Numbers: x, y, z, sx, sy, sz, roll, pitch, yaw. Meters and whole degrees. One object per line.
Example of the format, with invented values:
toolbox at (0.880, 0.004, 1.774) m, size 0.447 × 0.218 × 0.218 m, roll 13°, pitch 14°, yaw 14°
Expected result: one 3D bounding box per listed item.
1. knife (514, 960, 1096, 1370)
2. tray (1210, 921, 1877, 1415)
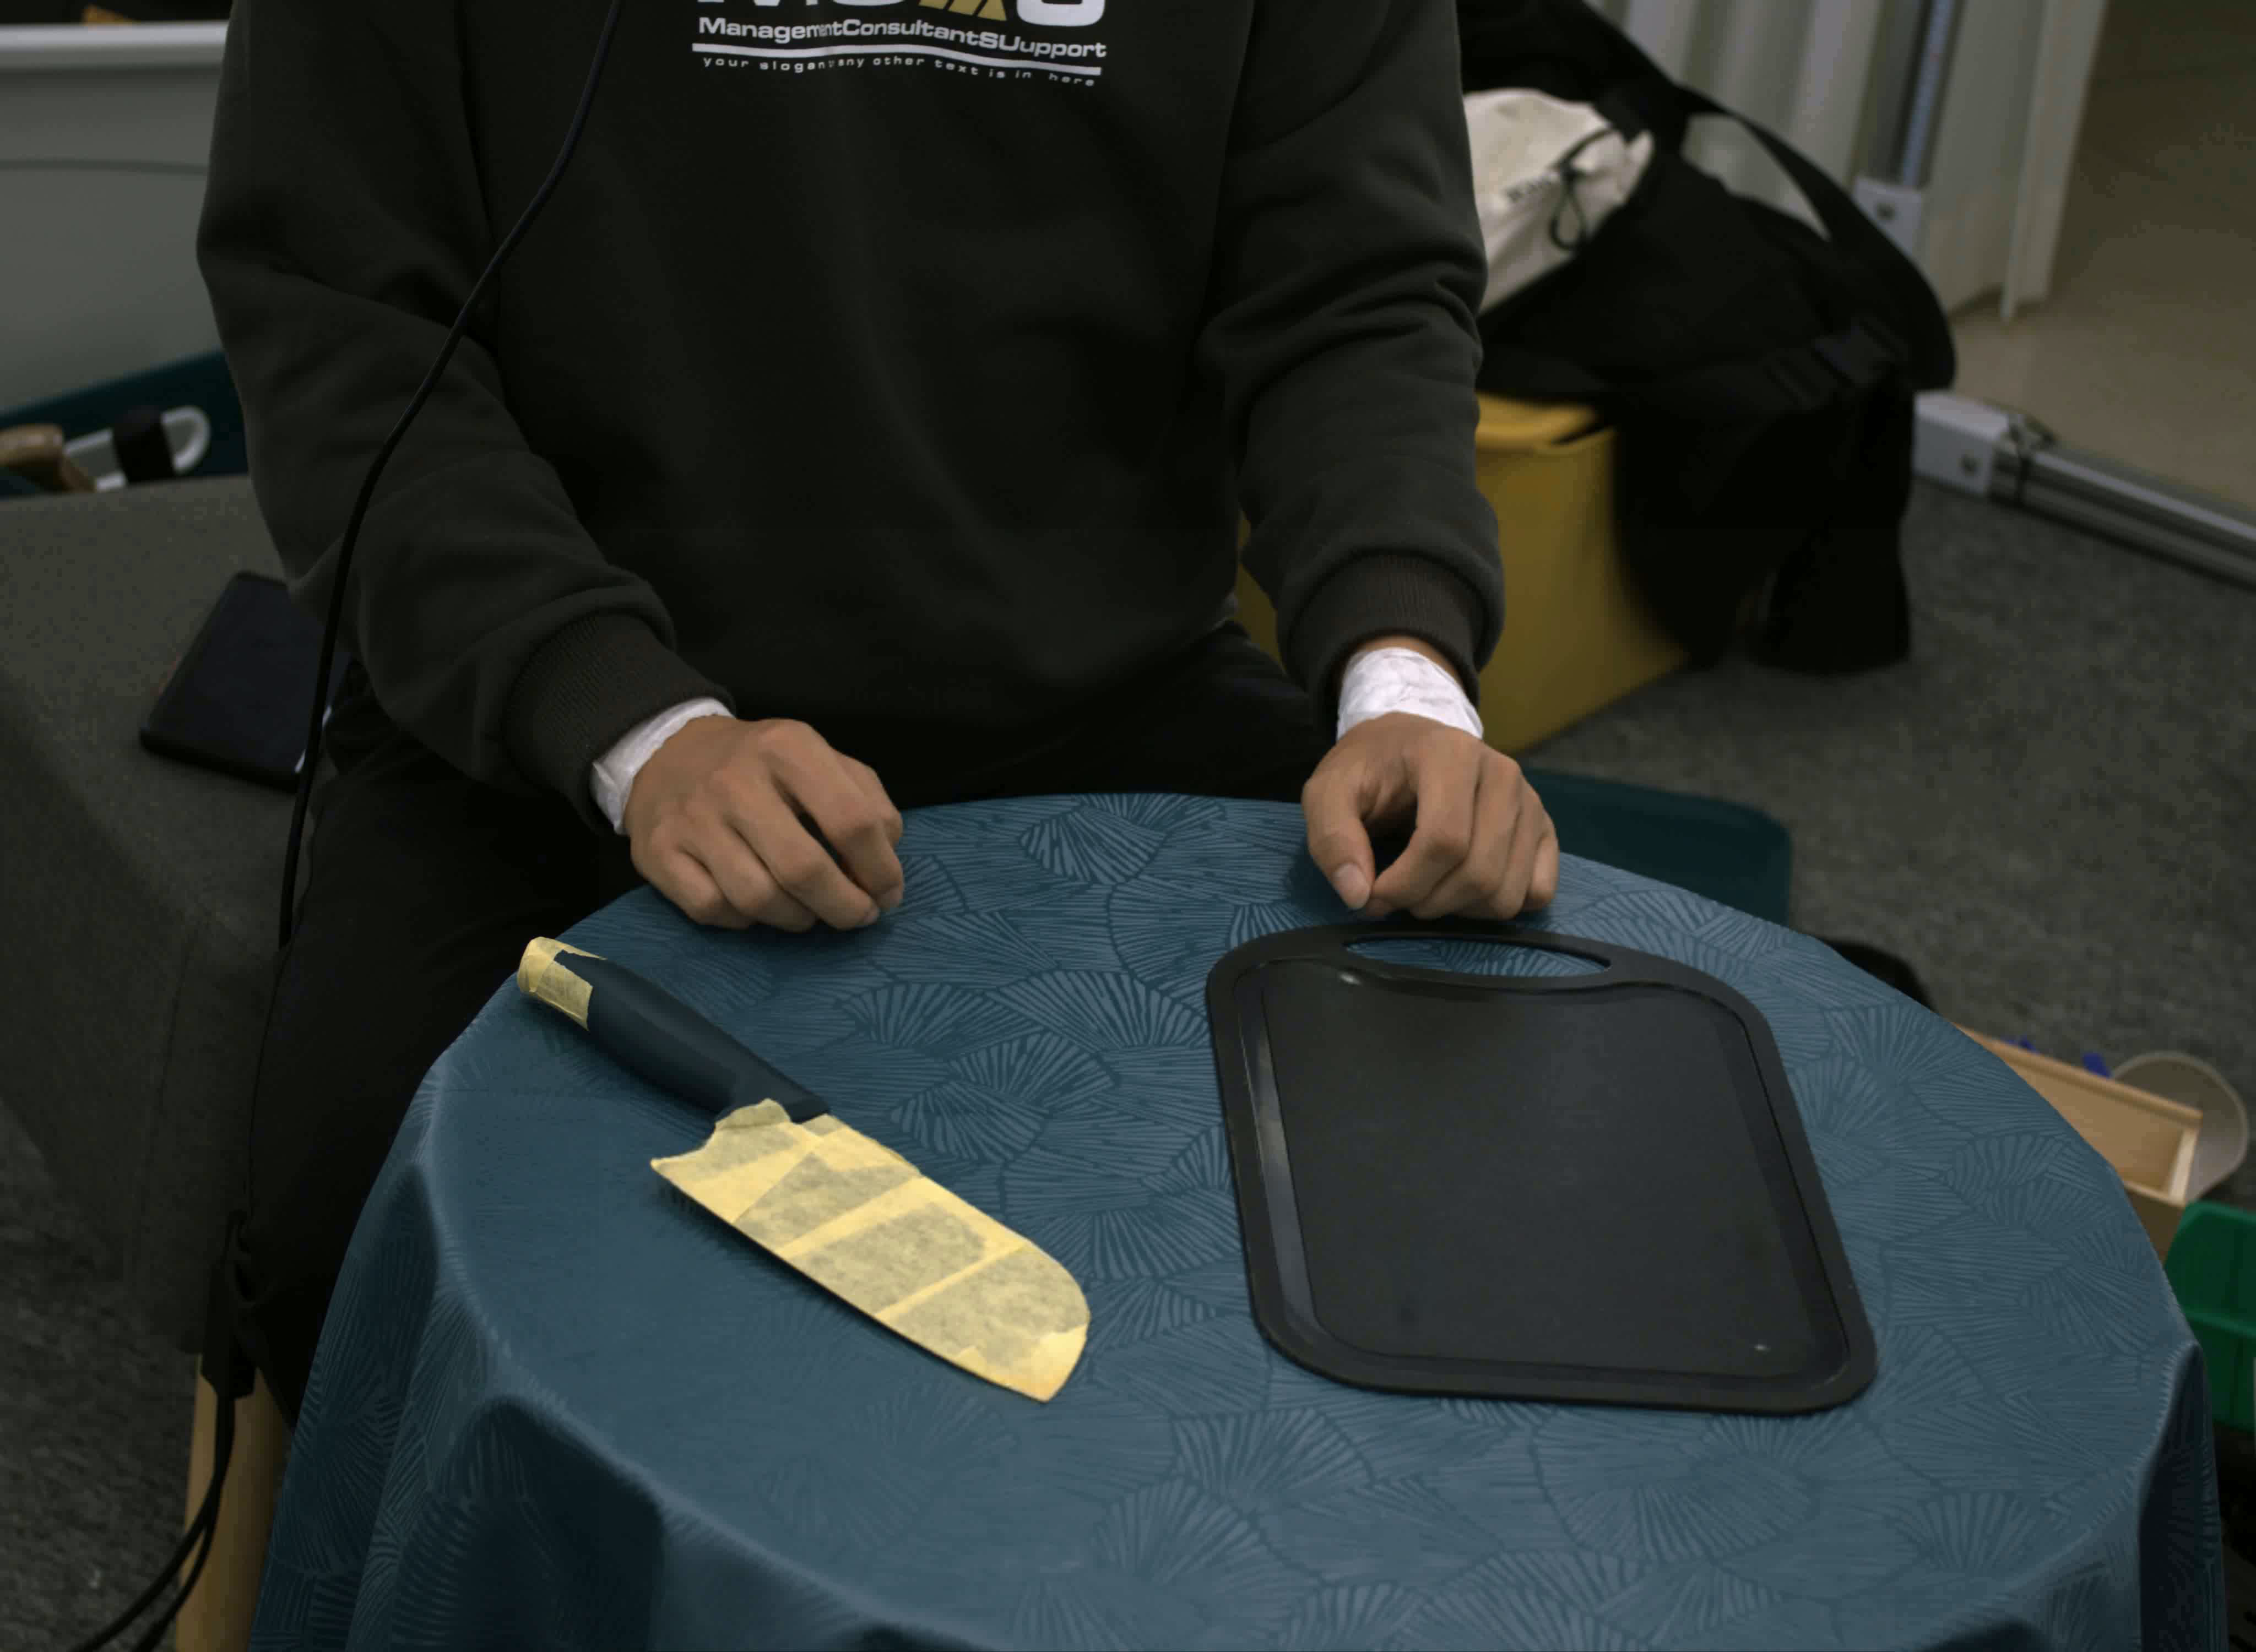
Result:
knife at (-0.117, 0.114, 1.782) m, size 0.080 × 0.027 × 0.292 m, roll -18°, pitch 36°, yaw -42°
tray at (0.138, 0.110, 1.856) m, size 0.210 × 0.010 × 0.327 m, roll 4°, pitch 27°, yaw -5°
